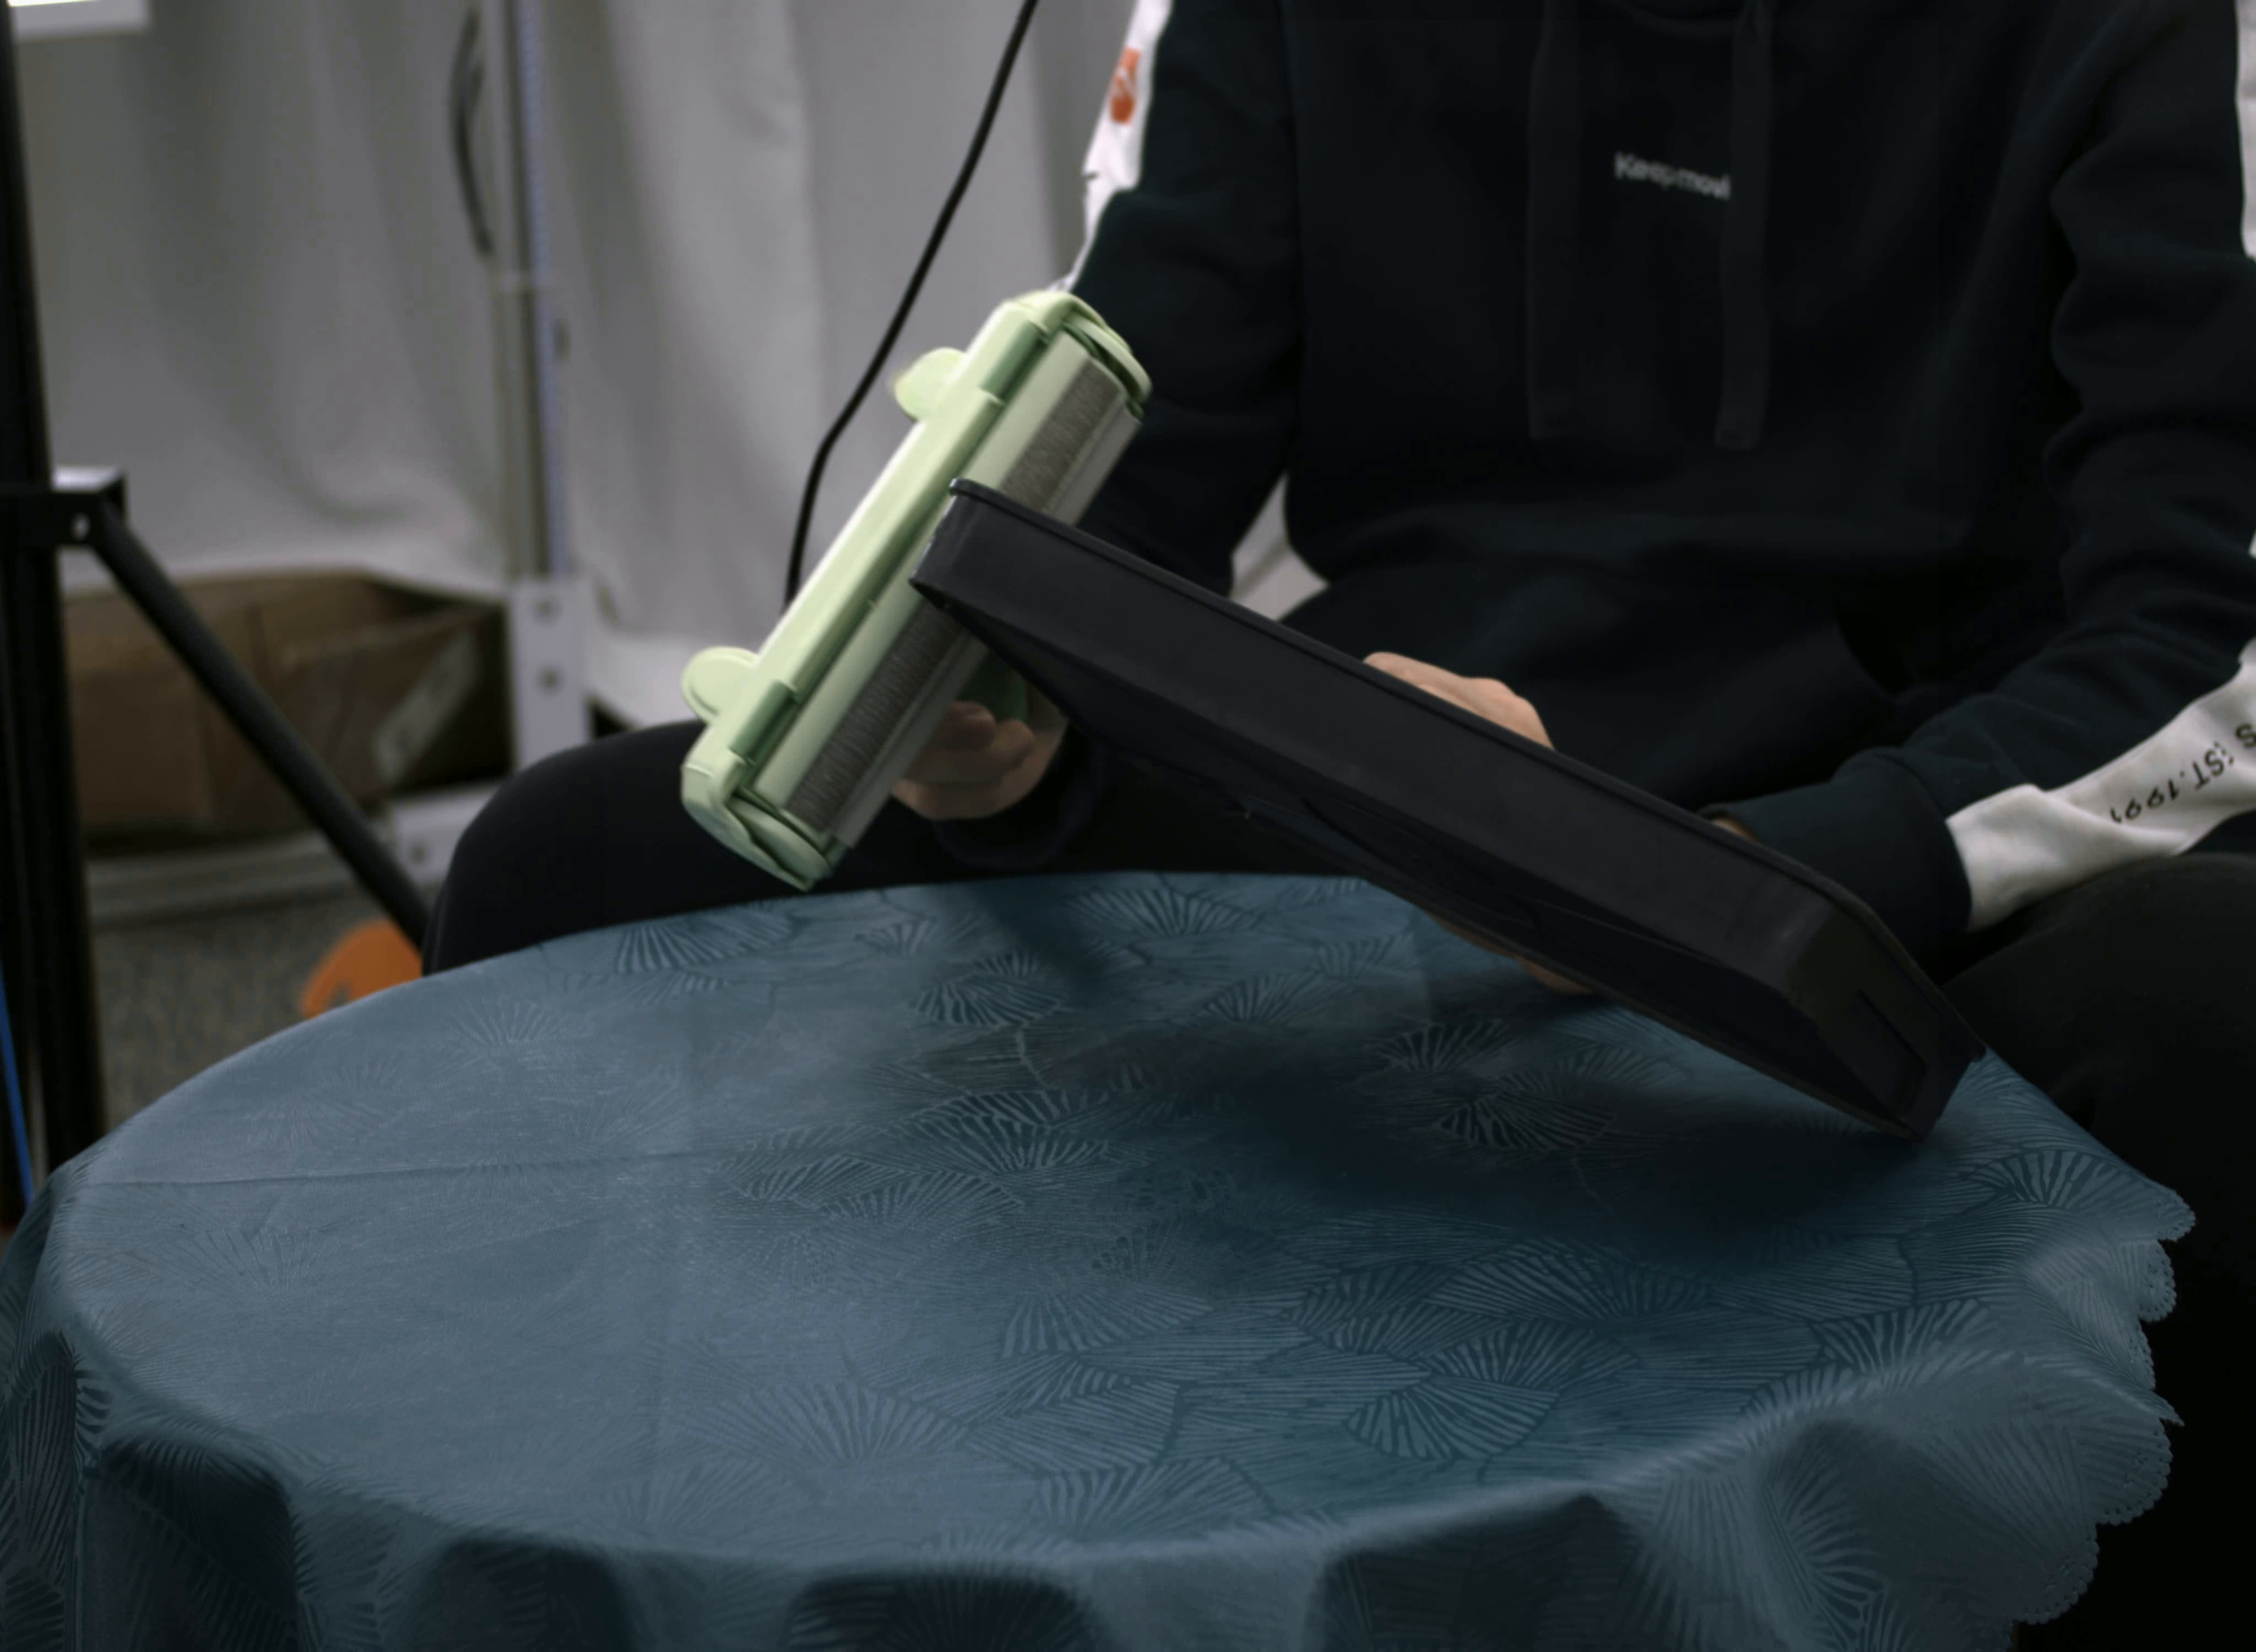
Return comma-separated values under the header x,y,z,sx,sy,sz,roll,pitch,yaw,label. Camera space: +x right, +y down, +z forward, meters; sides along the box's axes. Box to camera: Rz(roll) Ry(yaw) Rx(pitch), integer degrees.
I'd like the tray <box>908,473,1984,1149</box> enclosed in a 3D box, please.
x,y,z,sx,sy,sz,roll,pitch,yaw,label
0.092,-0.004,1.564,0.324,0.037,0.180,26,-7,30,tray

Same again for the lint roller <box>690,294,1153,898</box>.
x,y,z,sx,sy,sz,roll,pitch,yaw,label
-0.070,-0.065,1.696,0.082,0.198,0.183,33,-10,5,lint roller
